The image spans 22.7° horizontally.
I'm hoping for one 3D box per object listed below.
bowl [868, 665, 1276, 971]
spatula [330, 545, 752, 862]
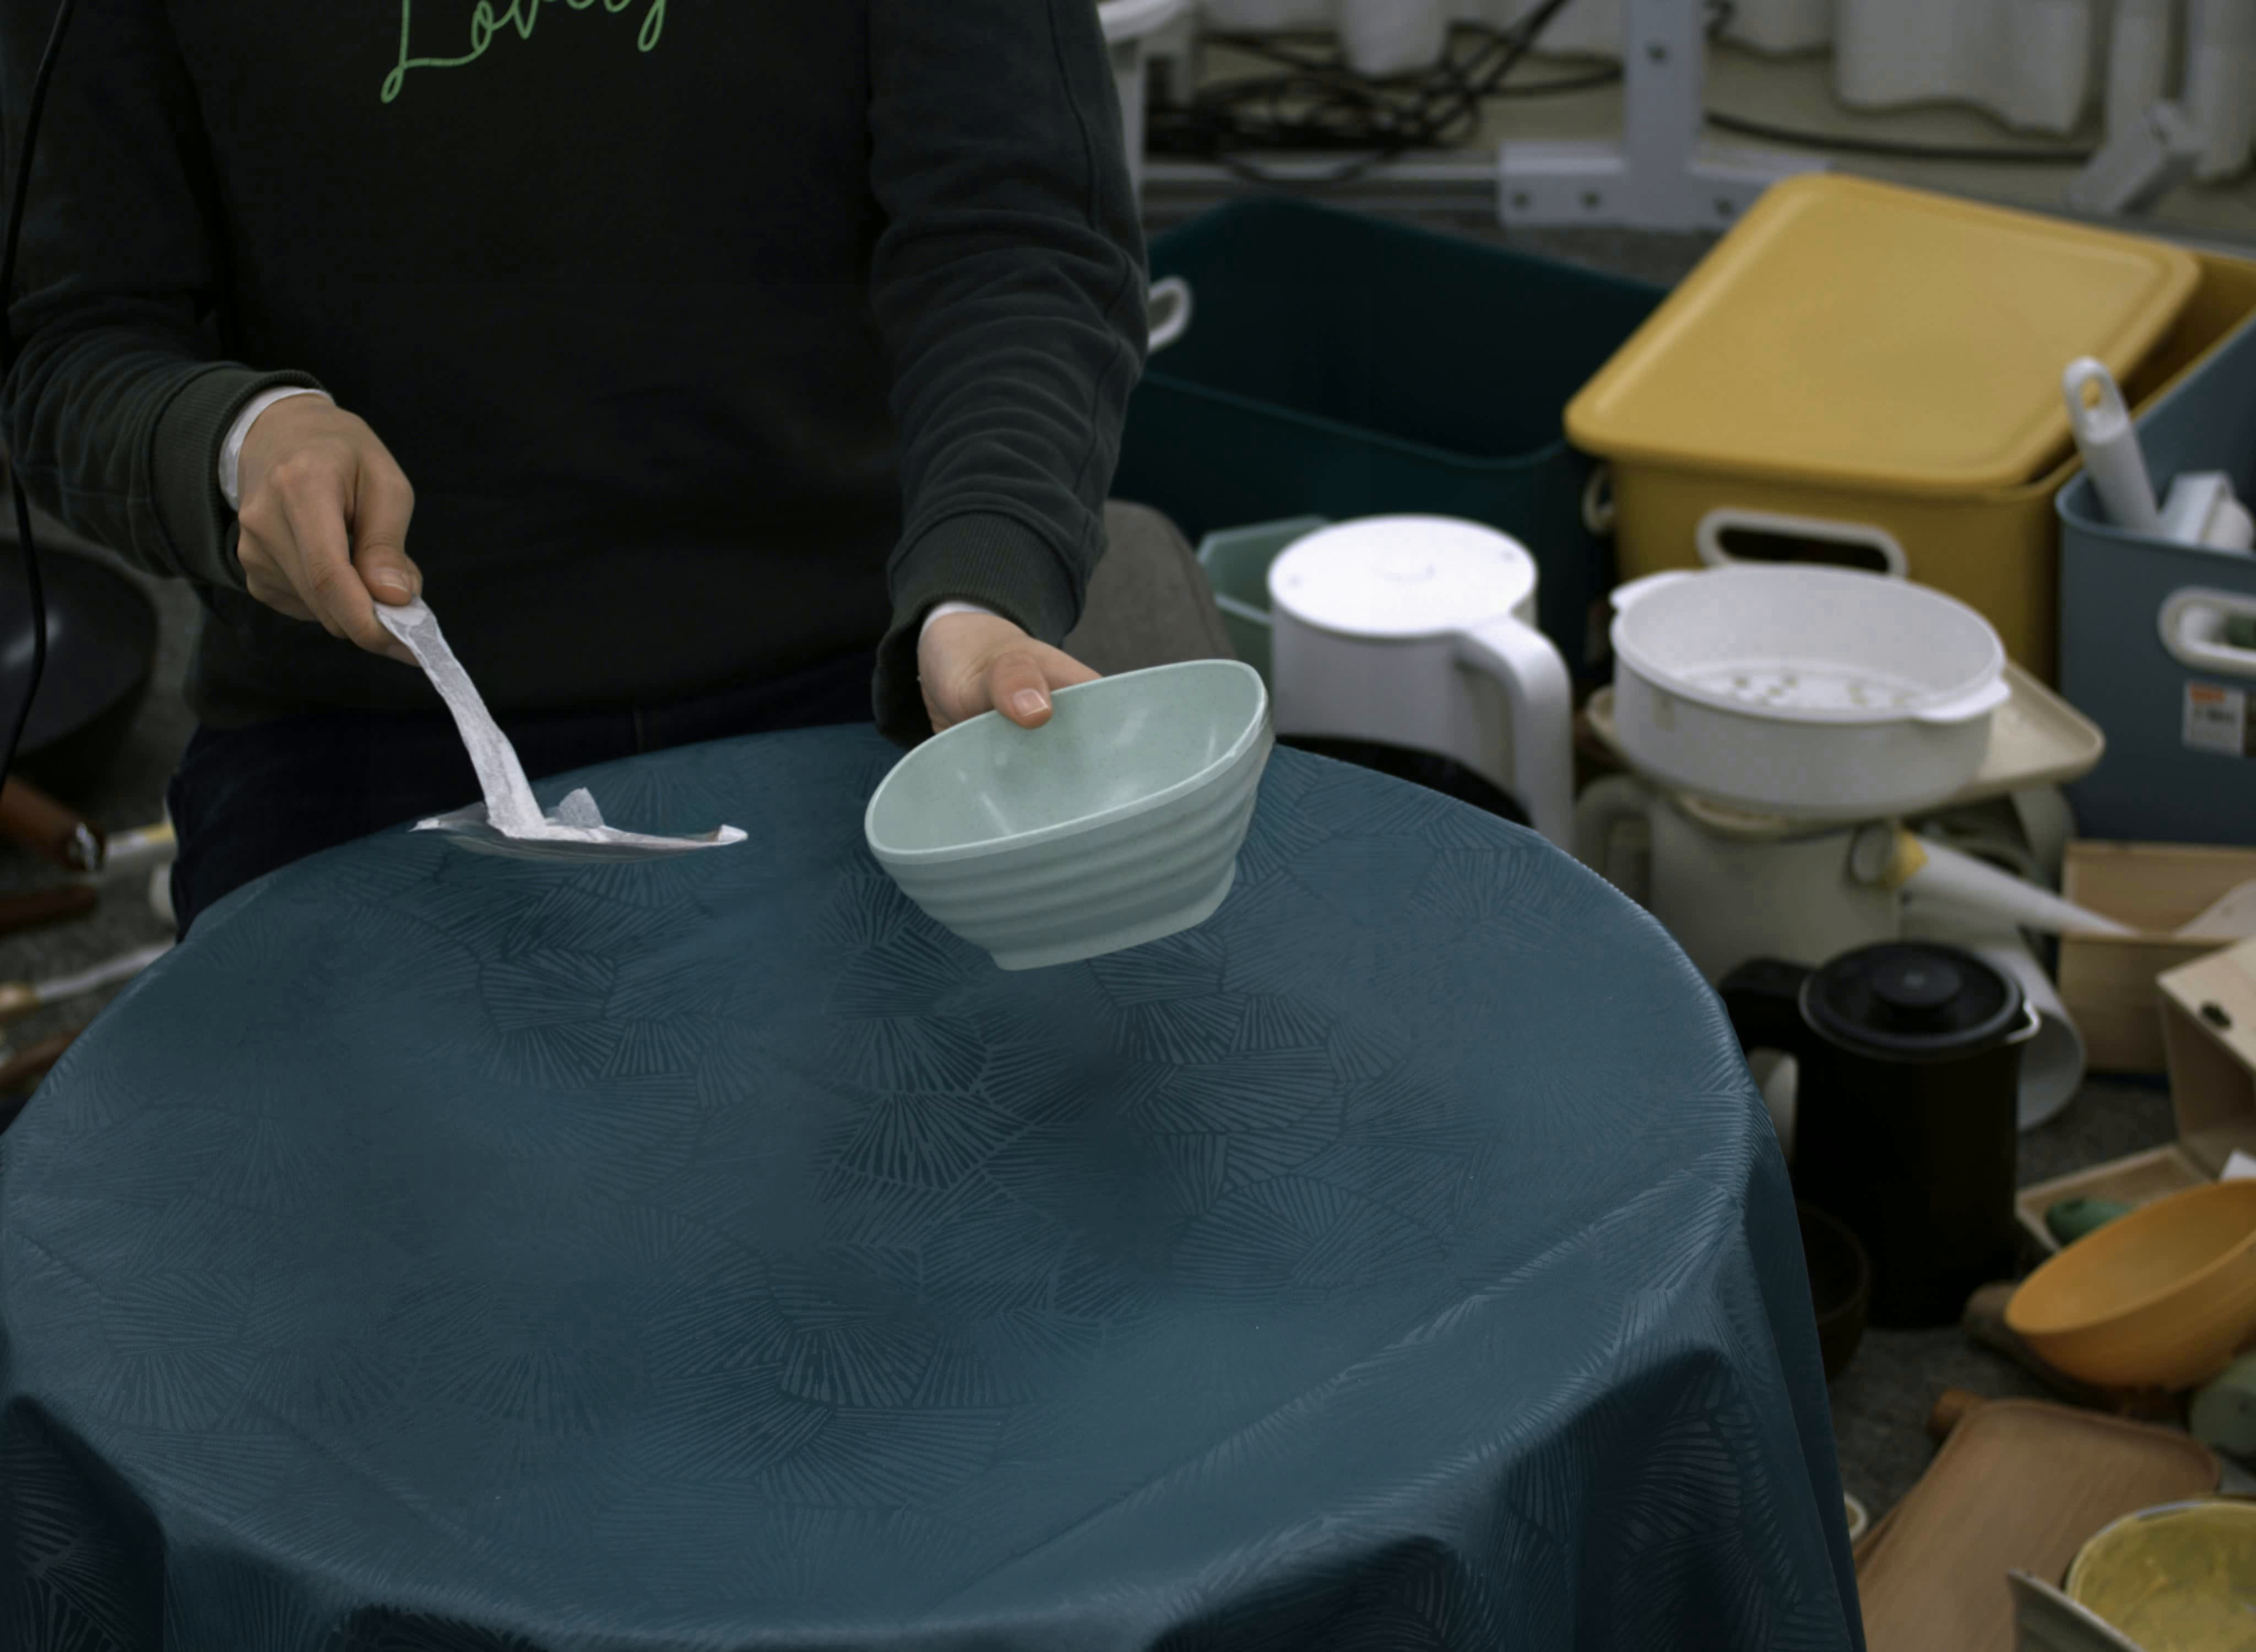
[{"bbox_3d":[-0.012,0.002,1.872,0.150,0.058,0.153,-13,20,5],"label":"bowl"},{"bbox_3d":[-0.222,-0.049,1.898,0.099,0.044,0.367,2,22,-23],"label":"spatula"}]
